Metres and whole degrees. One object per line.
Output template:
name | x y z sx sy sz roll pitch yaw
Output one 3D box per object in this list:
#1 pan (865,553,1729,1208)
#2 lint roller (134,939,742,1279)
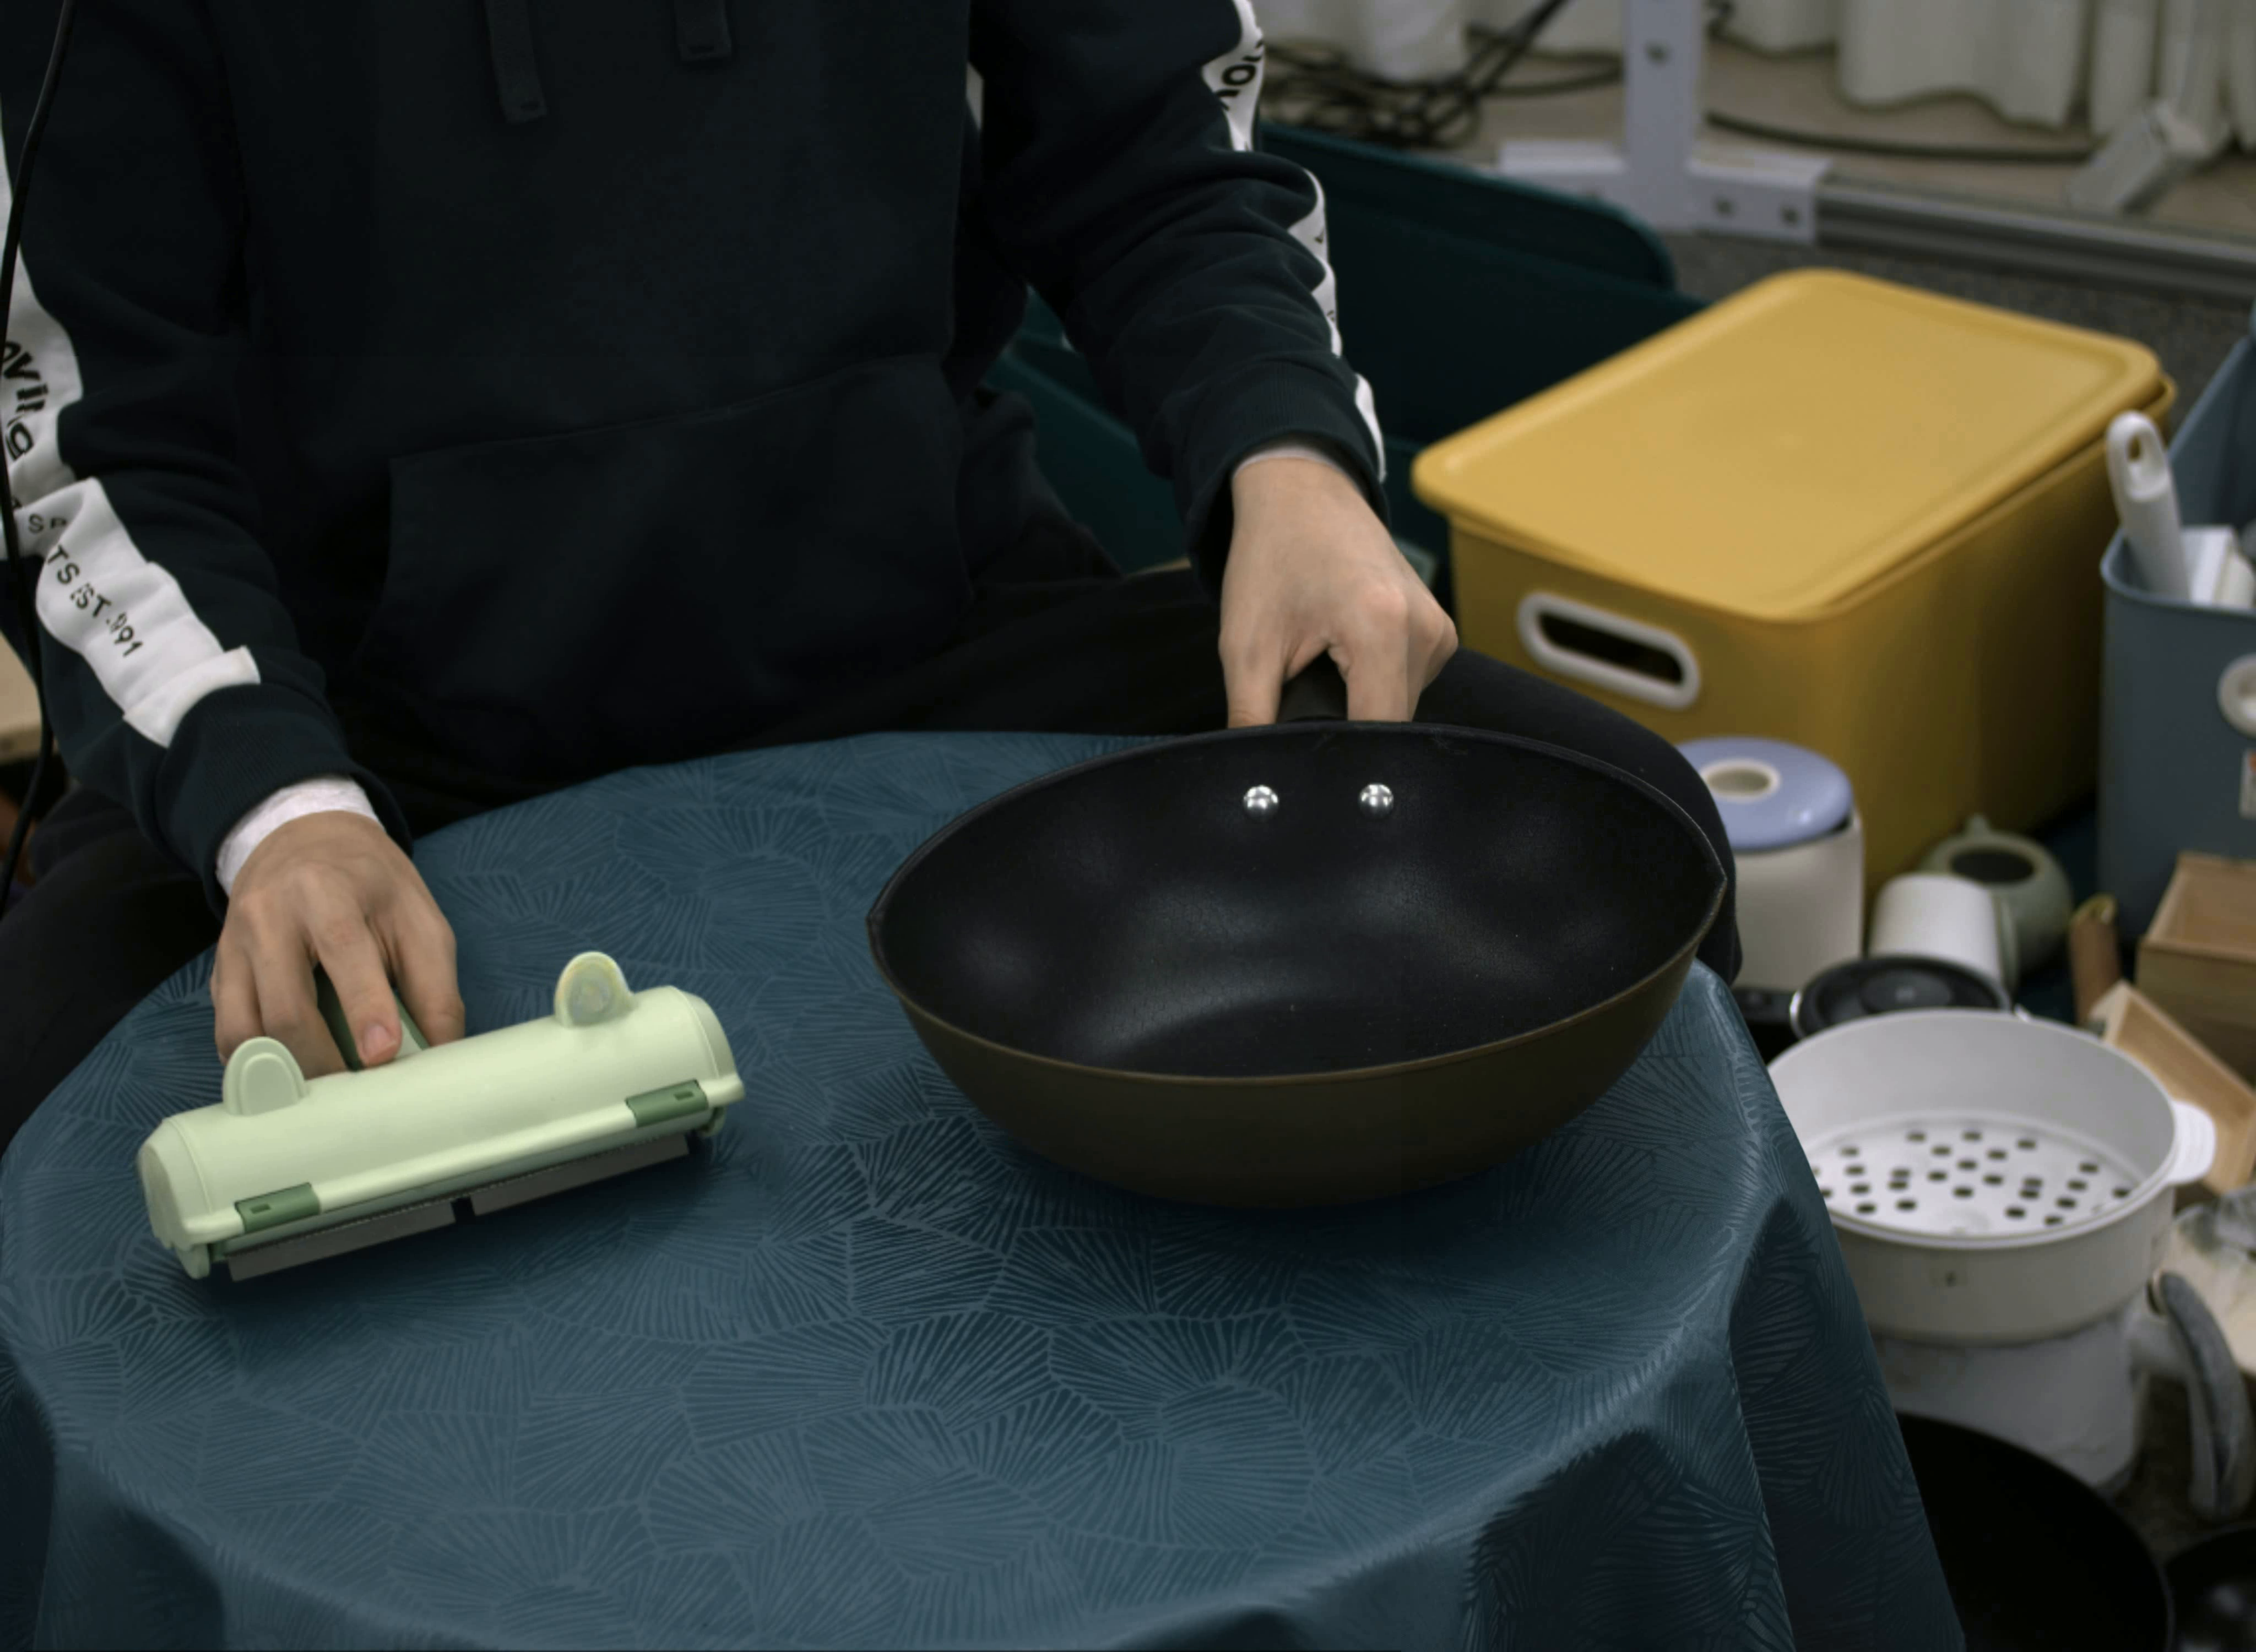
pan | 0.063 0.020 1.964 0.286 0.086 0.470 -1 23 4
lint roller | -0.252 0.067 1.891 0.199 0.081 0.185 -15 36 -23
